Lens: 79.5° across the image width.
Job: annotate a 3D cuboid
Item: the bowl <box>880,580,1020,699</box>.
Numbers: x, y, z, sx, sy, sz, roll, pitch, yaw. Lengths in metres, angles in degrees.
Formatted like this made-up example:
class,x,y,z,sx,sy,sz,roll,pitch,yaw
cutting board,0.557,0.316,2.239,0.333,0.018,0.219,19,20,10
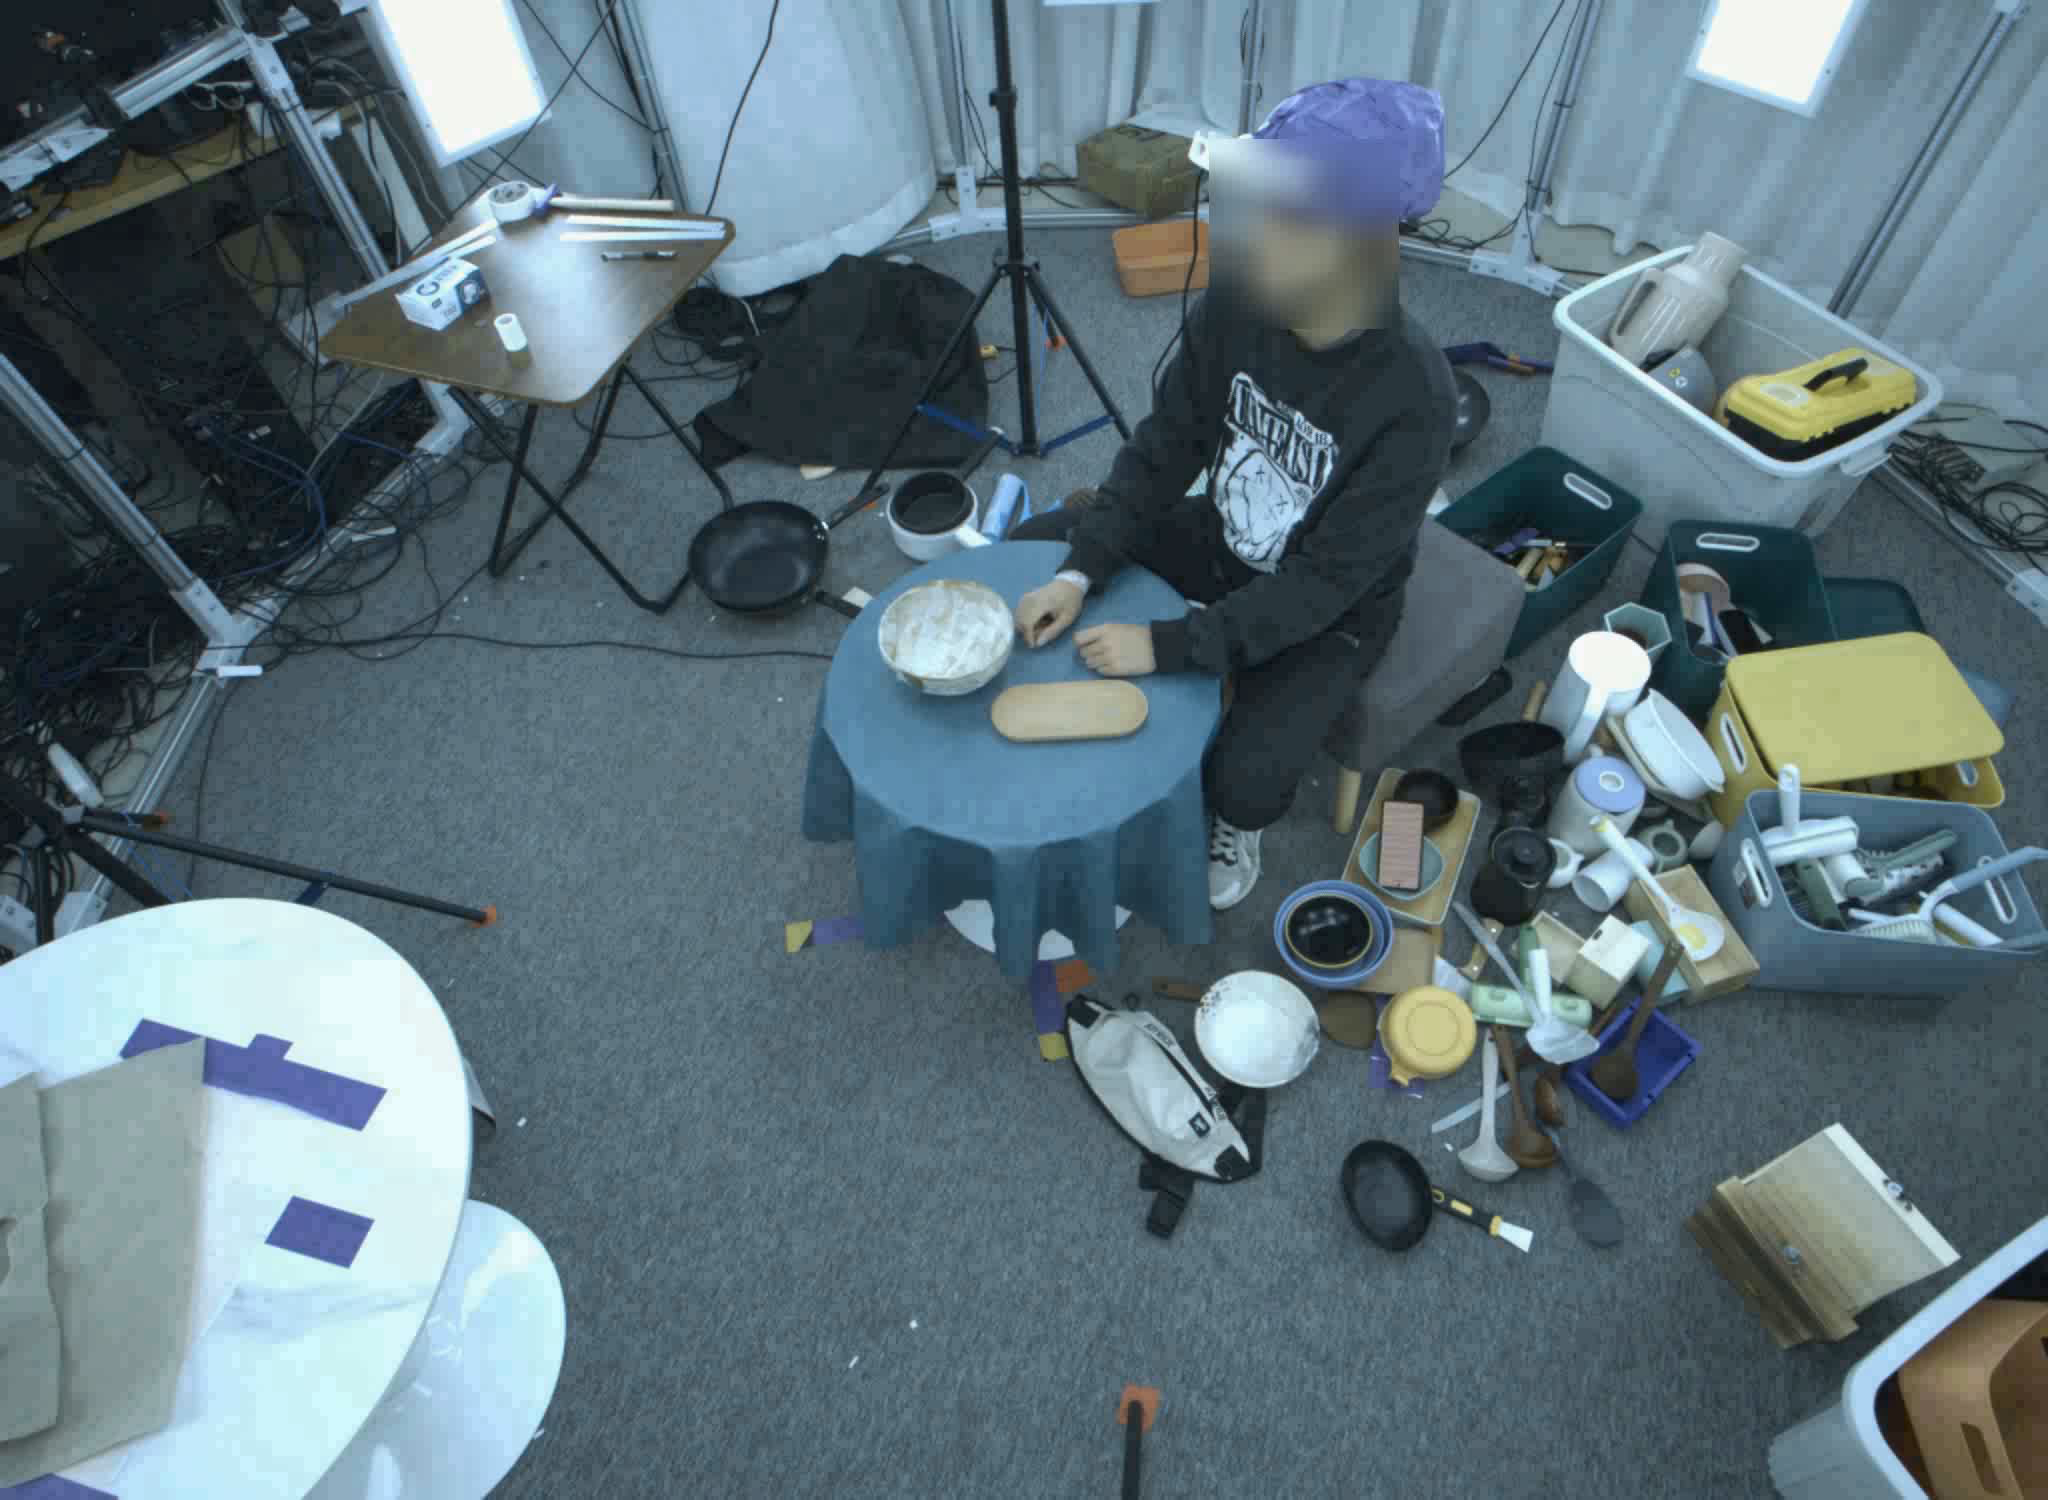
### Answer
class,x,y,z,sx,sy,sz,roll,pitch,yaw
bowl,-0.107,-0.148,1.848,0.214,0.095,0.212,0,54,2

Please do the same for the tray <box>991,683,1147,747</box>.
class,x,y,z,sx,sy,sz,roll,pitch,yaw
tray,0.066,-0.051,1.823,0.231,0.020,0.100,-5,52,1
